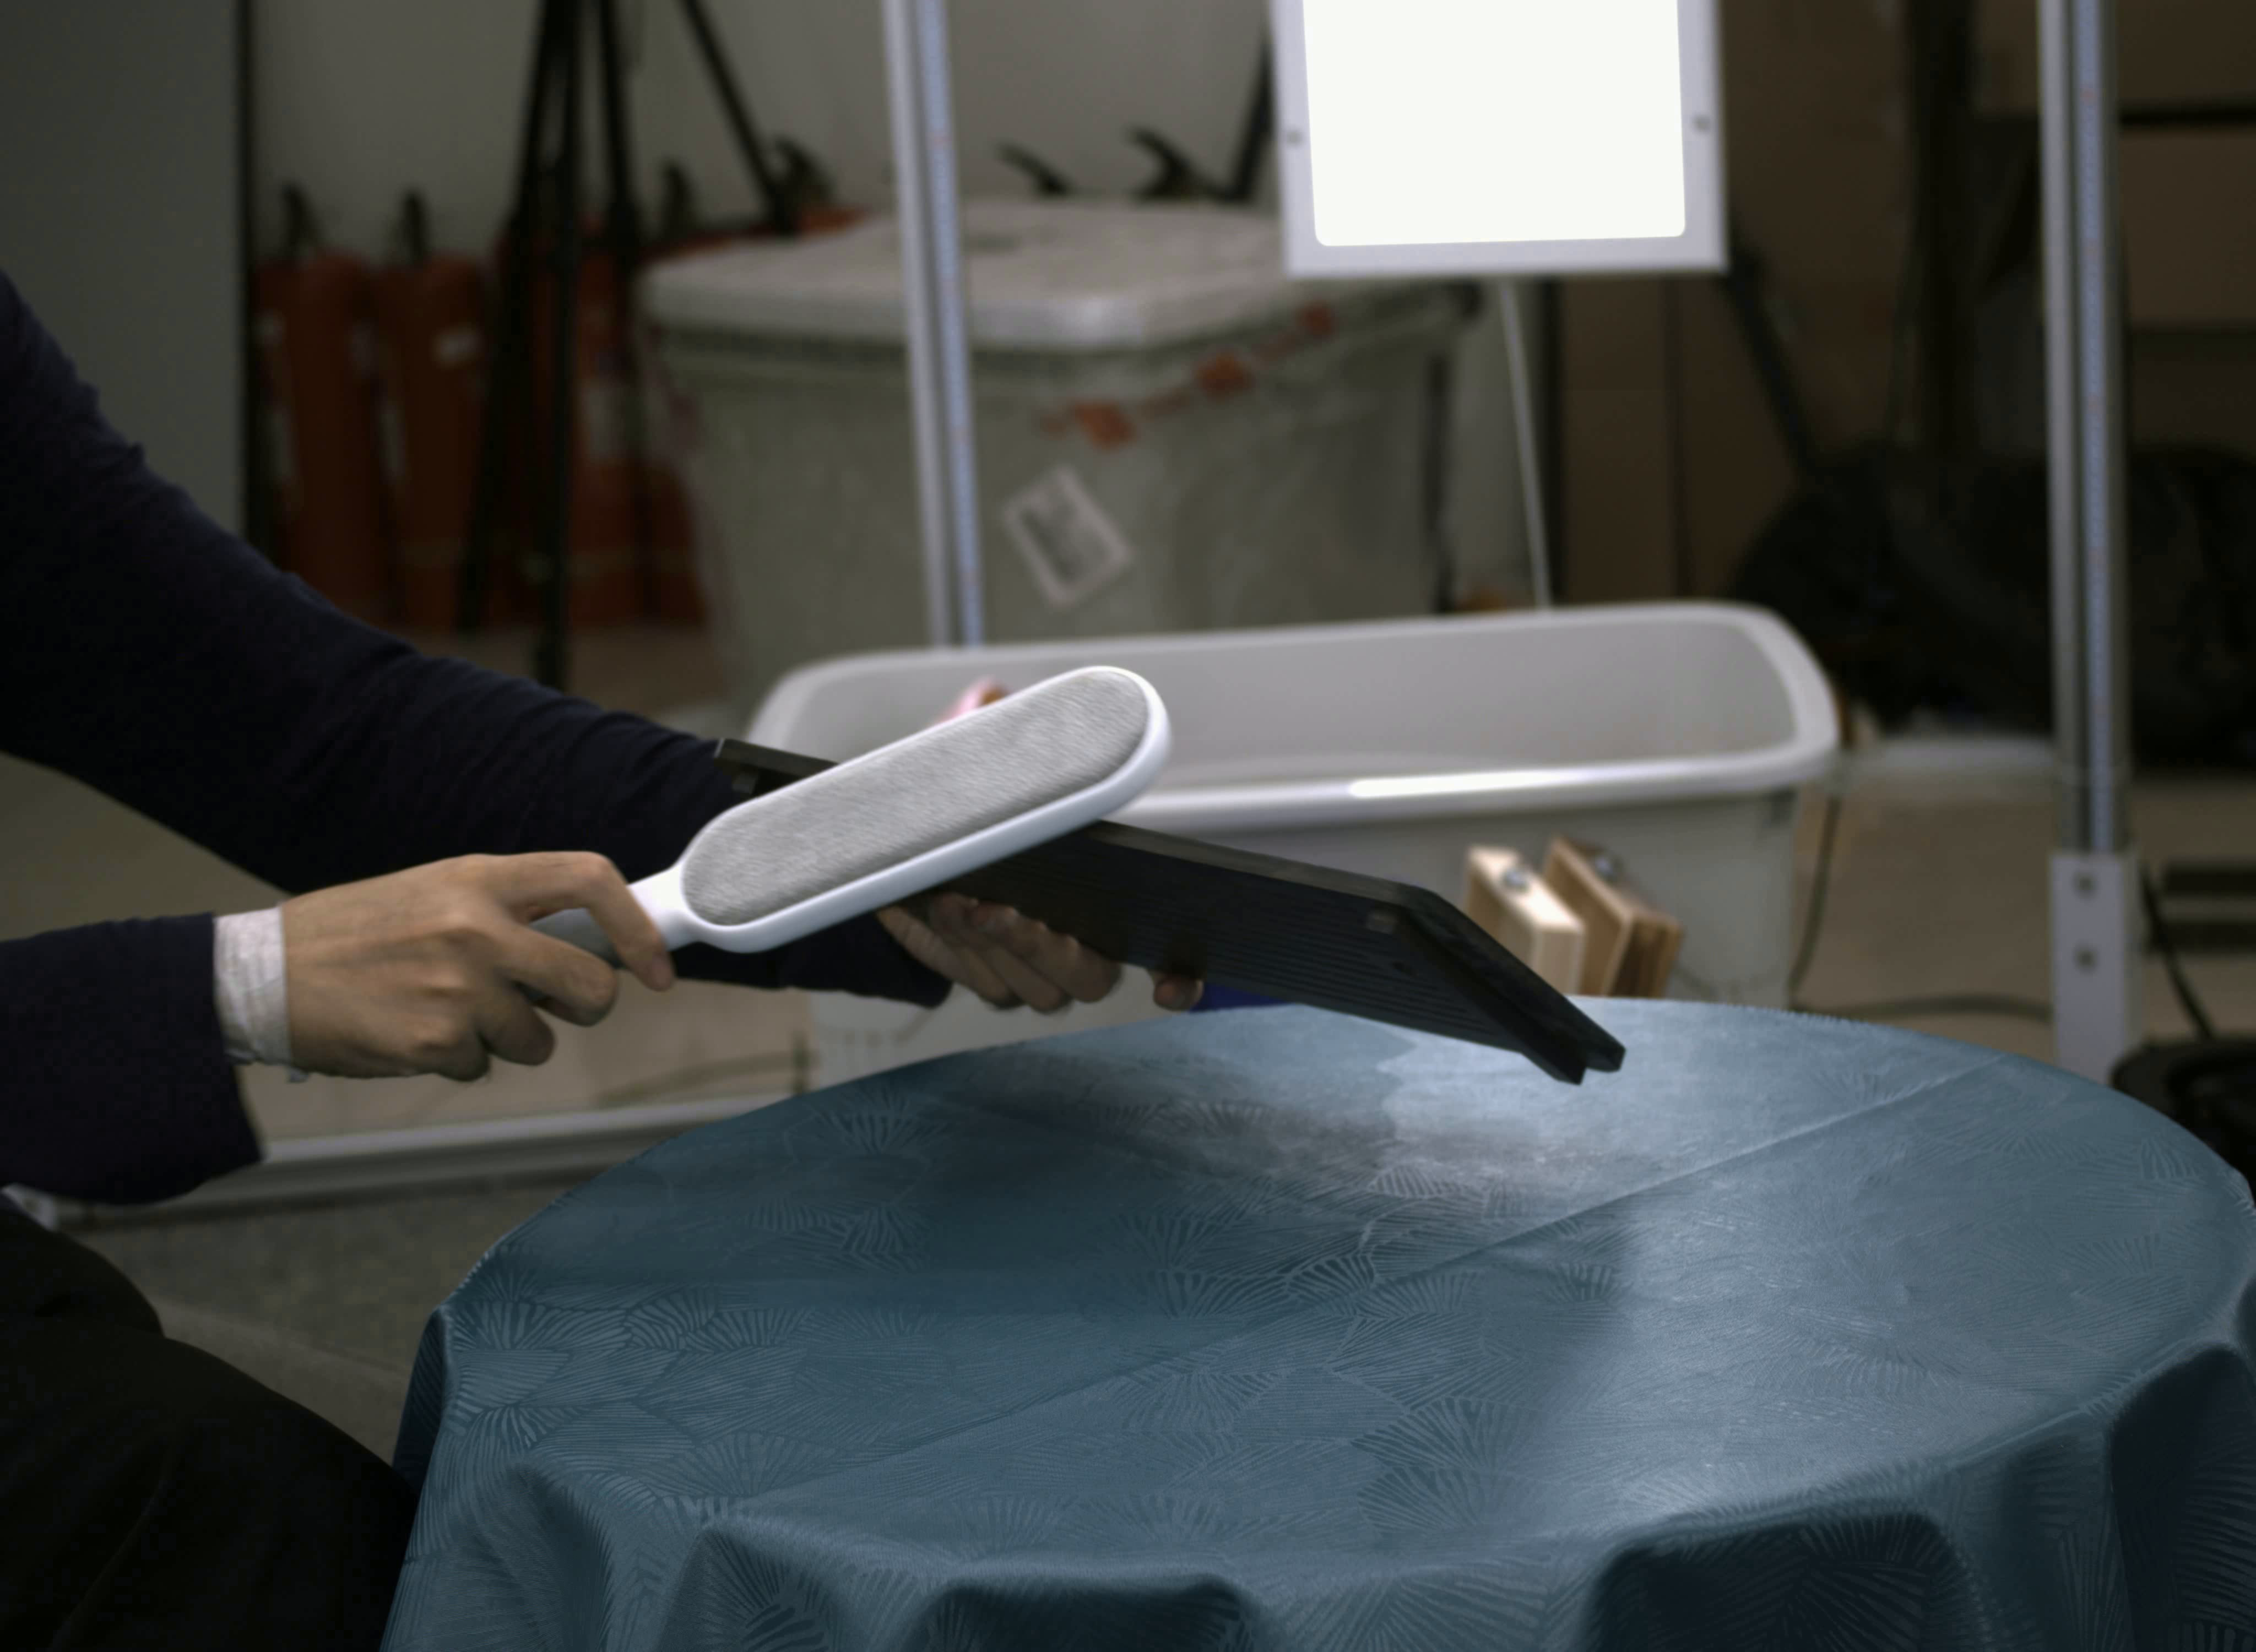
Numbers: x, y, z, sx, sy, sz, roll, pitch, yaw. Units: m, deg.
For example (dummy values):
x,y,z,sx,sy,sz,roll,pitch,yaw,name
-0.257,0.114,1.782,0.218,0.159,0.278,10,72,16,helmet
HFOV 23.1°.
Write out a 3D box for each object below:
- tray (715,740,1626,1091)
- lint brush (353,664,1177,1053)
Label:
x,y,z,sx,sy,sz,roll,pitch,yaw,name
0.012,0.032,1.919,0.312,0.018,0.167,12,-15,34,tray
-0.125,0.015,1.874,0.311,0.020,0.060,-21,53,14,lint brush
